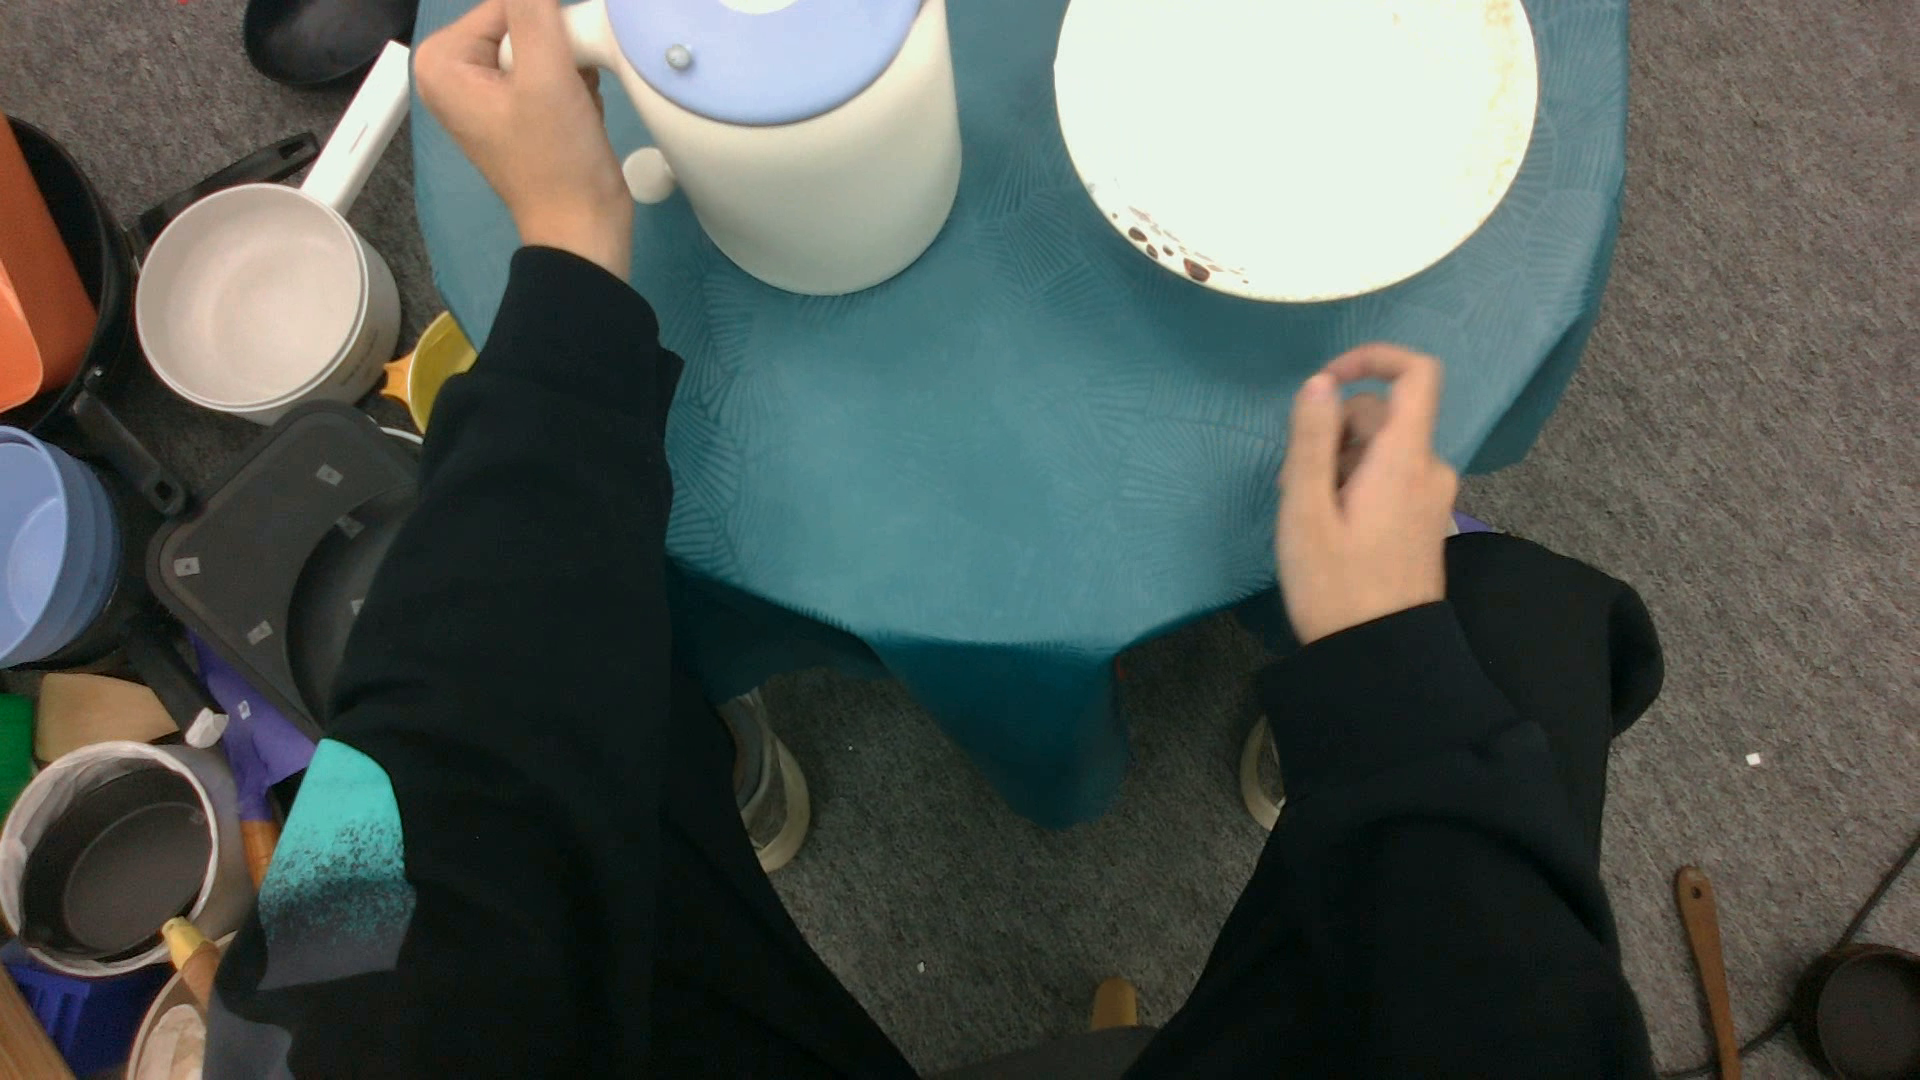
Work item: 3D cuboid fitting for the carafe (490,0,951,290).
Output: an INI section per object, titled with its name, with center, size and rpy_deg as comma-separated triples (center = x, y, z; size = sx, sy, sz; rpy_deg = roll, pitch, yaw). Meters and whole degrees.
[carafe]
center = -0.098, -0.192, 0.588
size = 0.191, 0.182, 0.132
rpy_deg = -10, 78, 3

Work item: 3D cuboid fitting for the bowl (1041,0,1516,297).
[bowl]
center = 0.138, -0.200, 0.630
size = 0.204, 0.078, 0.204
rpy_deg = 0, 83, 2
